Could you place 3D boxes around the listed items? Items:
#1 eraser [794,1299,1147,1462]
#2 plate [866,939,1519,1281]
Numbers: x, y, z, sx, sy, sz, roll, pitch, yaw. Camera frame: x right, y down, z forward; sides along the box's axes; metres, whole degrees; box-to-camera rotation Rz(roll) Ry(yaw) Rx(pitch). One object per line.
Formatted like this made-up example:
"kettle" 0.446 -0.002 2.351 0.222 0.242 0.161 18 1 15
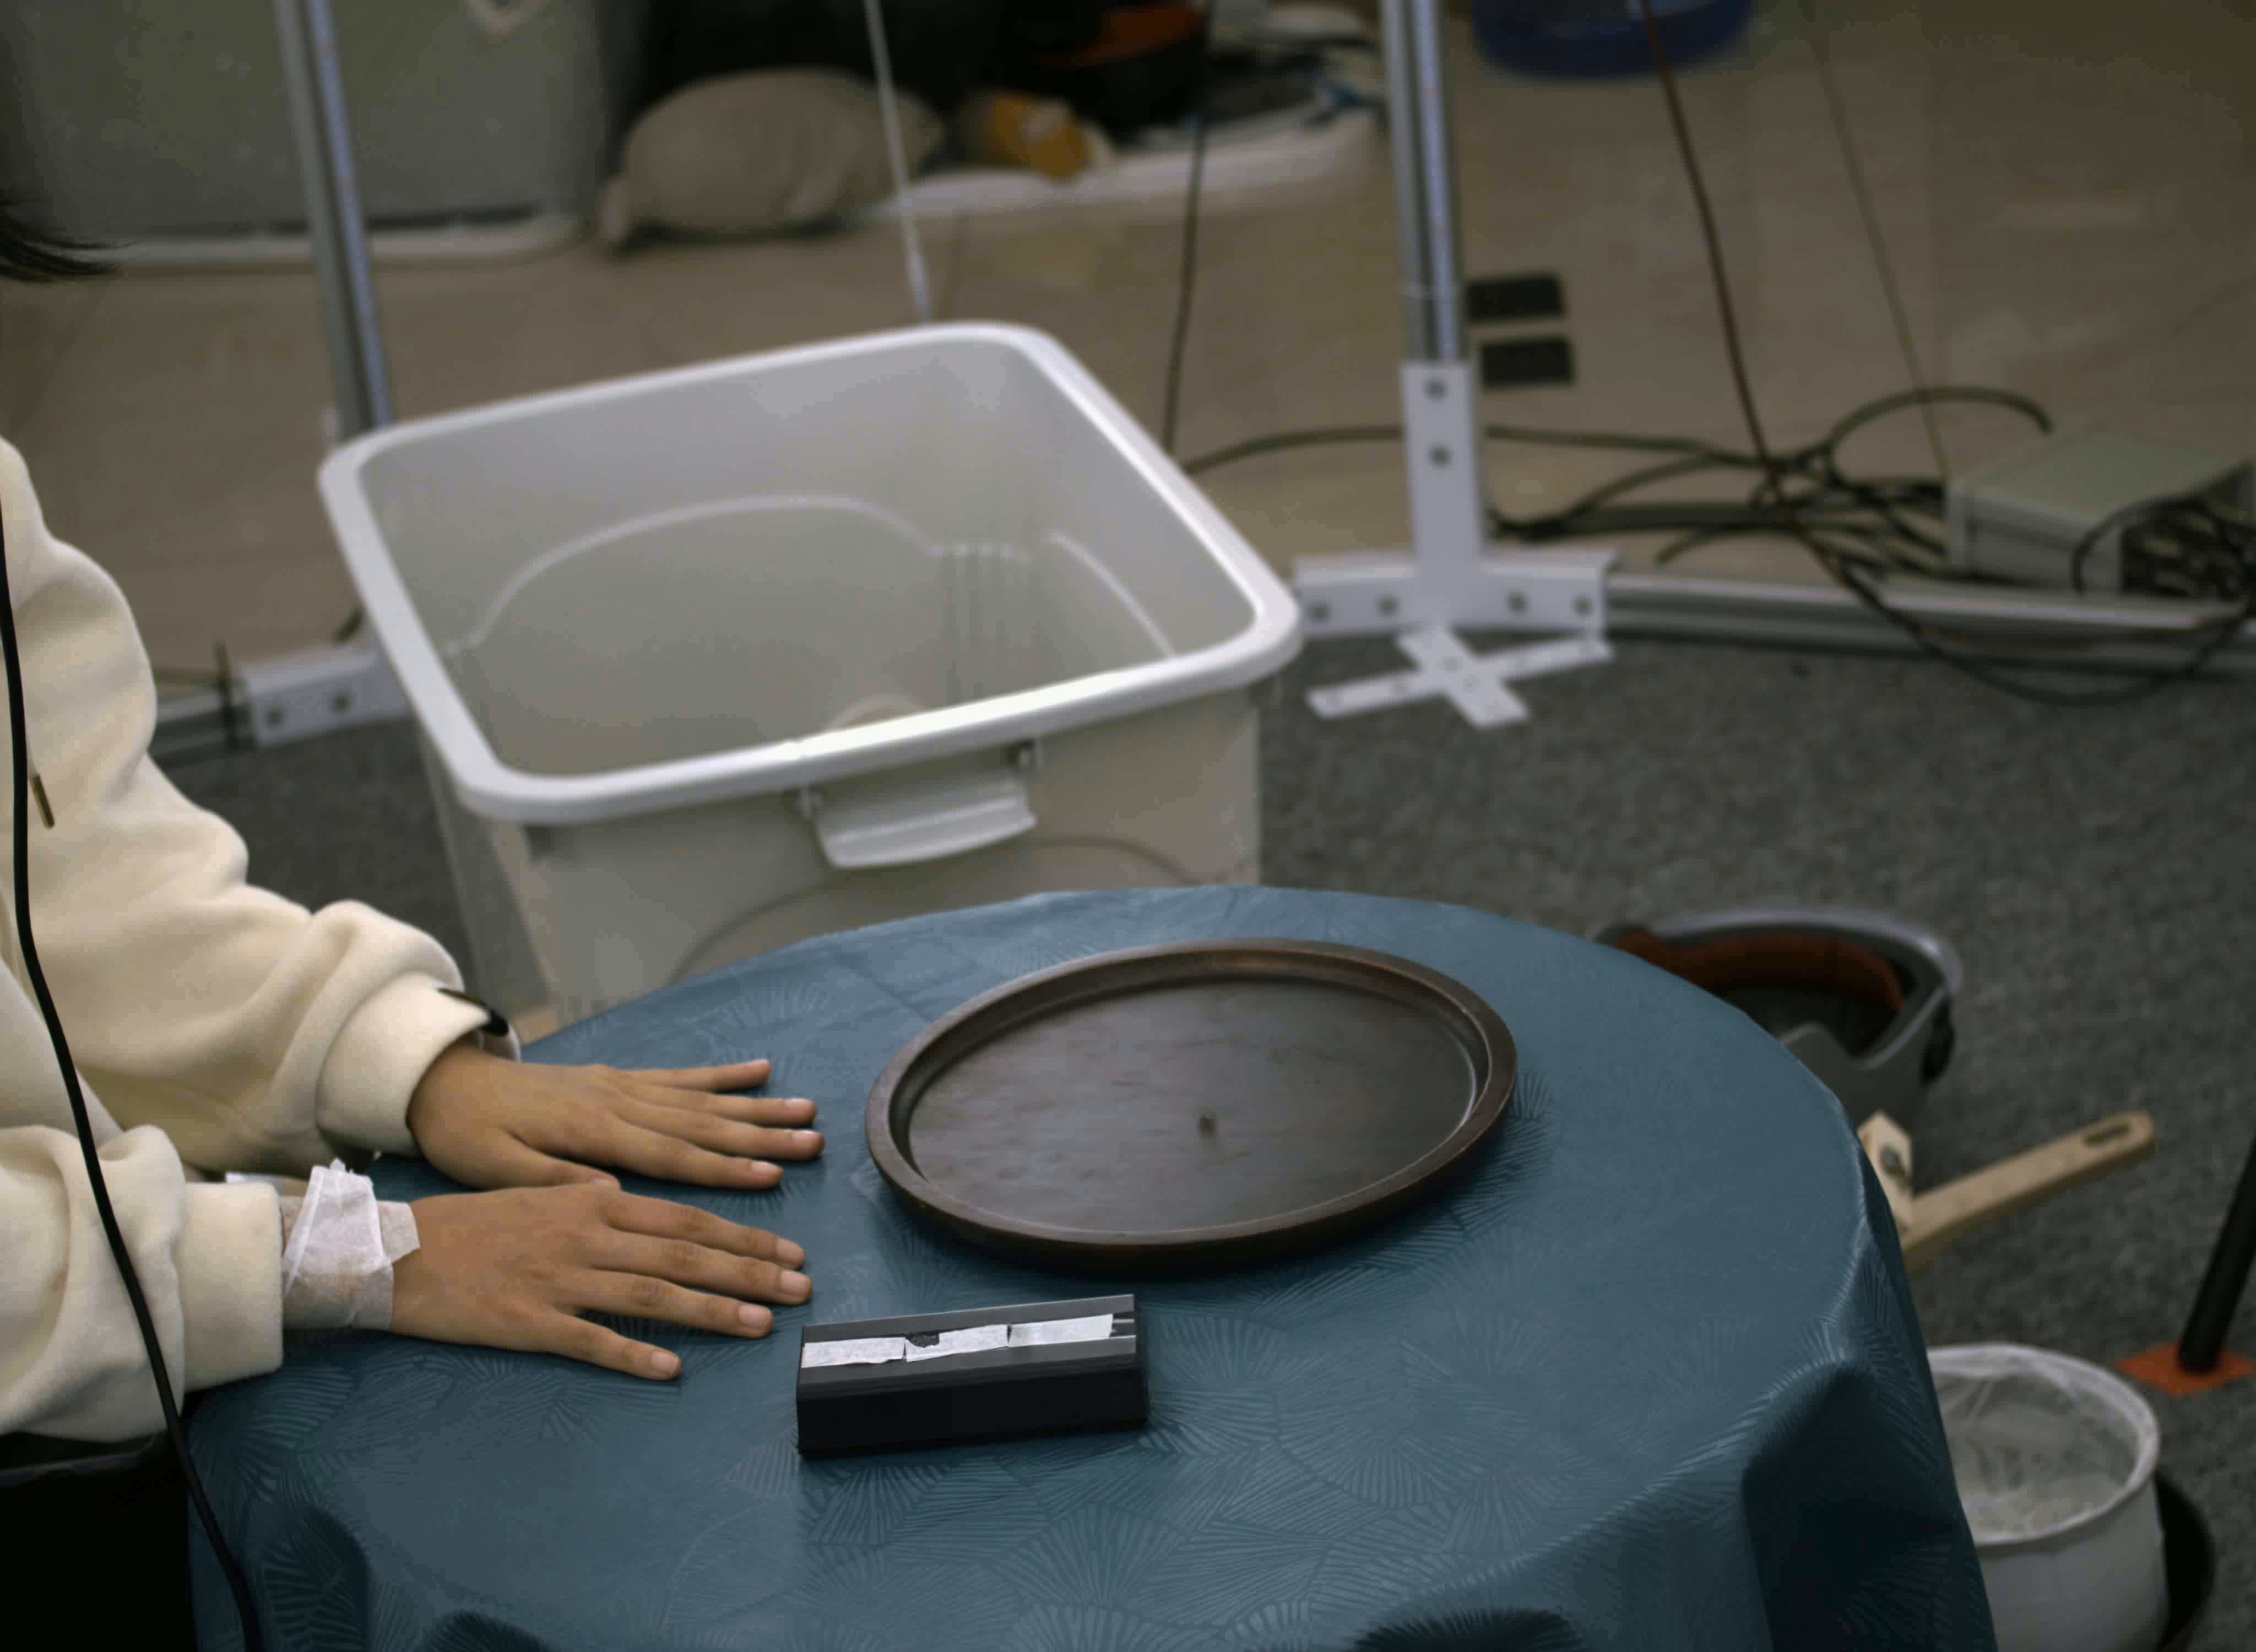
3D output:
"eraser" -0.054 0.196 2.009 0.125 0.031 0.053 -7 23 3
"plate" 0.025 0.107 2.181 0.254 0.029 0.251 -4 25 2
